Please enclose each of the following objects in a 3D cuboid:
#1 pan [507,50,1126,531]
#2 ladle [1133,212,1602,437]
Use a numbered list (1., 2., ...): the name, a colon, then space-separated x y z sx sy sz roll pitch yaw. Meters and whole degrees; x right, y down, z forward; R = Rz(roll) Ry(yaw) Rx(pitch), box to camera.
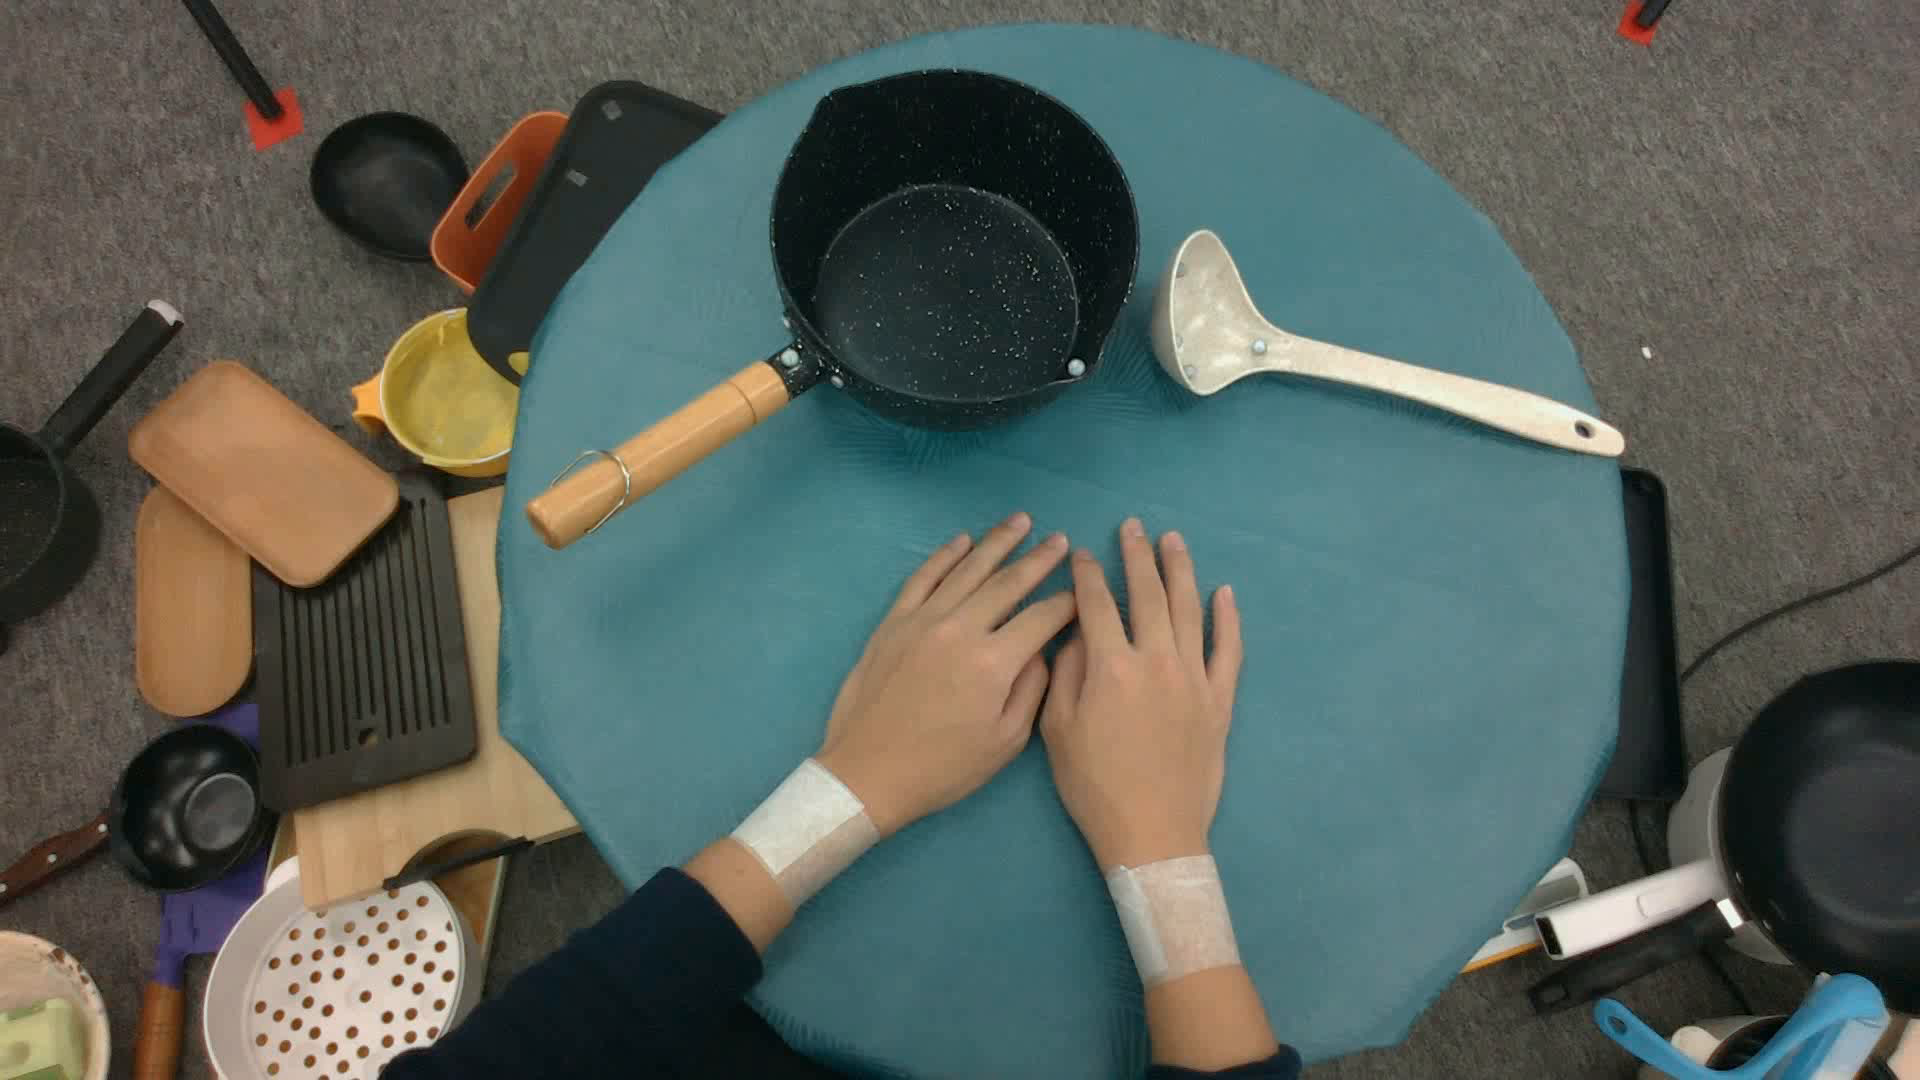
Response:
1. pan: -0.069 -0.103 0.687 0.344 0.108 0.207 -41 82 -16
2. ladle: 0.226 -0.106 0.734 0.275 0.069 0.089 13 66 -1
